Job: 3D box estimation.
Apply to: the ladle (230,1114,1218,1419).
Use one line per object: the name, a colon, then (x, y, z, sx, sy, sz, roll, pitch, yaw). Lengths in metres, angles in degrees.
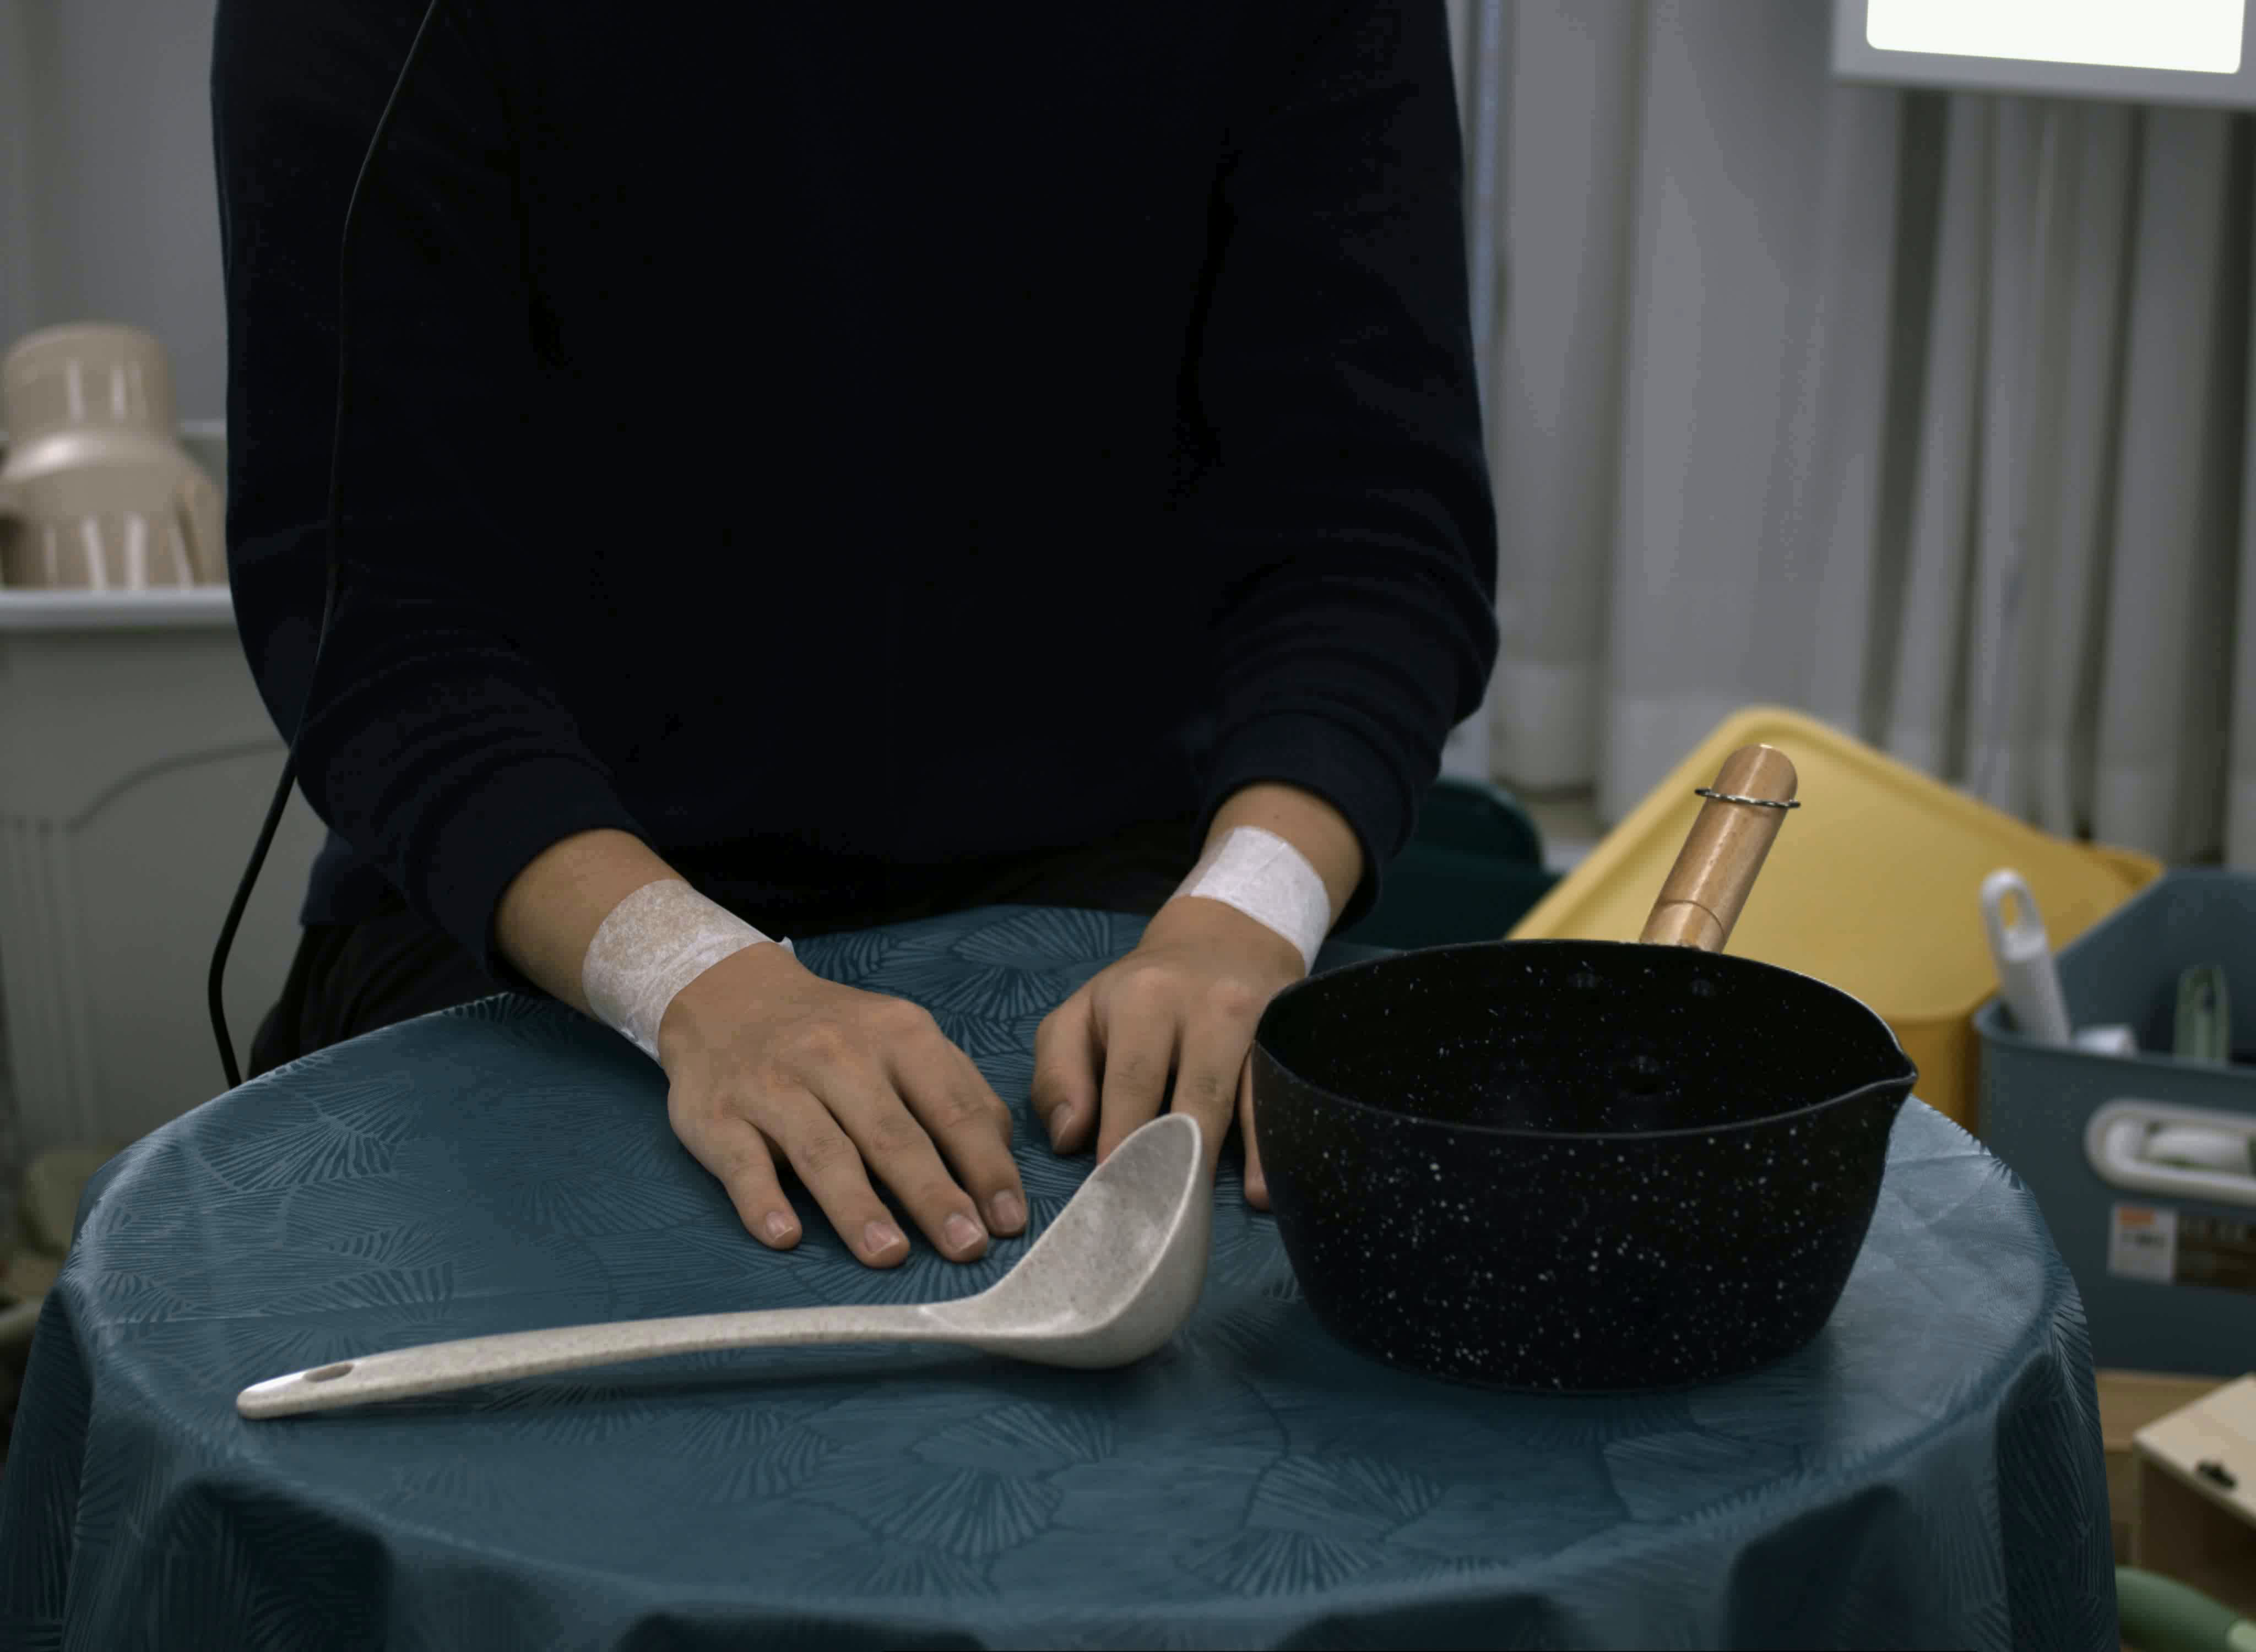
ladle: (-0.111, 0.122, 1.457, 0.275, 0.070, 0.088, -2, 20, -11)

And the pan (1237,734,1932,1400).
pan: (0.152, 0.067, 1.588, 0.205, 0.109, 0.342, 4, 17, 17)
